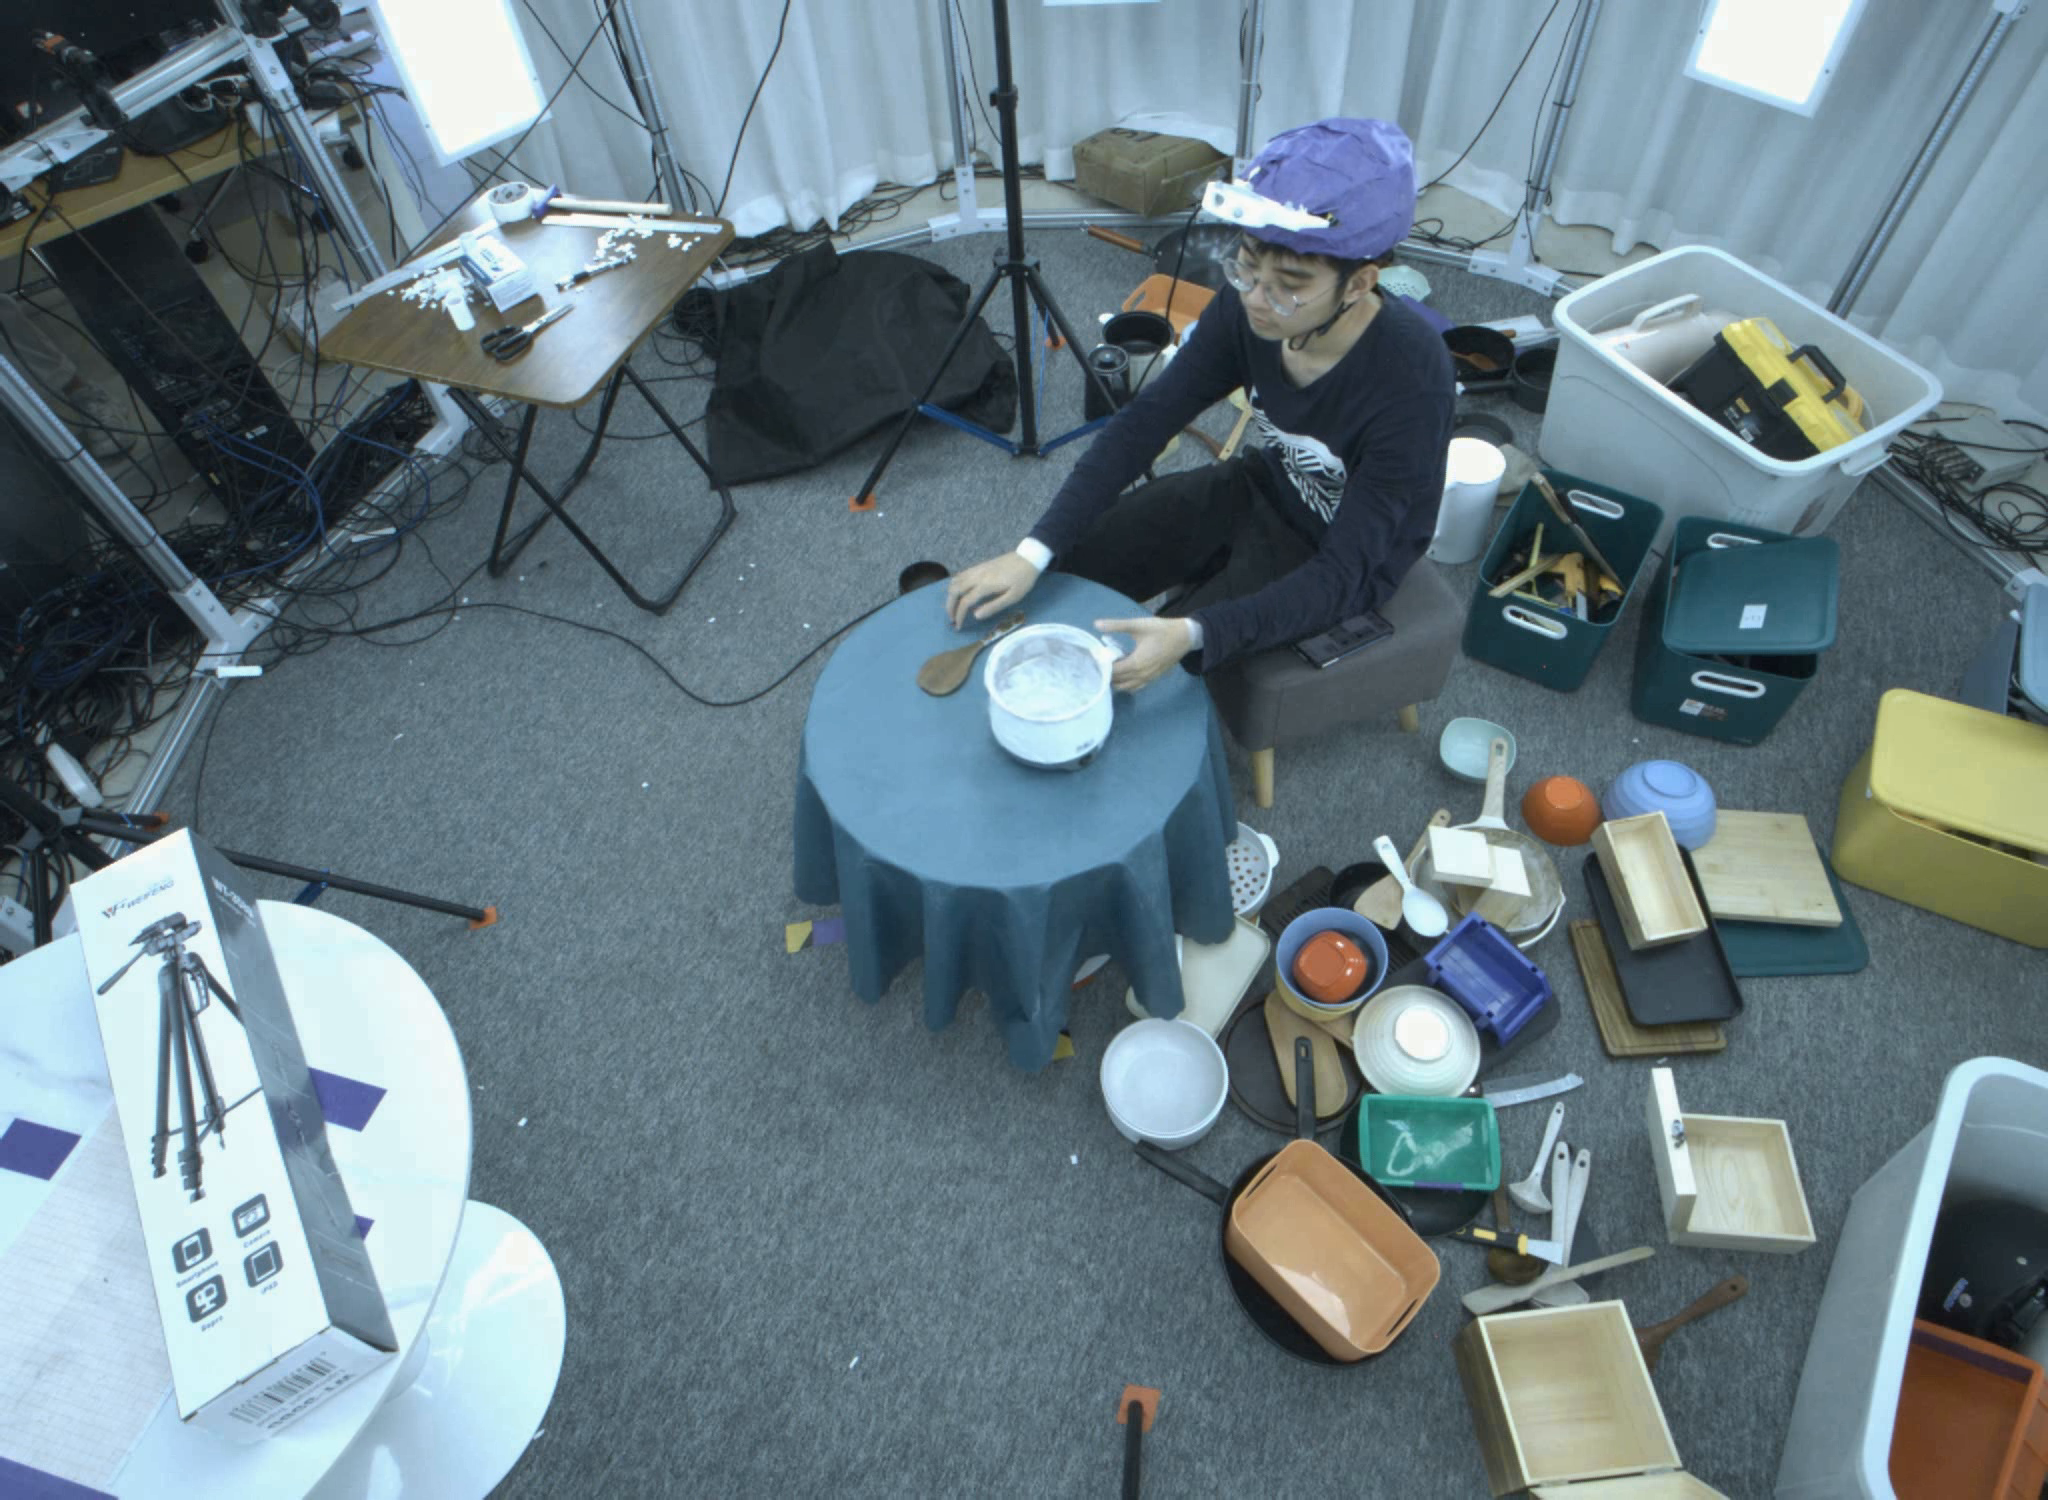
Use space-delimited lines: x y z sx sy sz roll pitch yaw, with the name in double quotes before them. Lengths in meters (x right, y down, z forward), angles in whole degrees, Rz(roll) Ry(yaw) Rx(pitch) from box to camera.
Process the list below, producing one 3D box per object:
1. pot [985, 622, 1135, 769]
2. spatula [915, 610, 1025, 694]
"pot" 0.059 -0.088 1.769 0.235 0.138 0.175 -32 62 -18
"spatula" -0.077 -0.155 1.905 0.217 0.009 0.070 -39 64 -24
